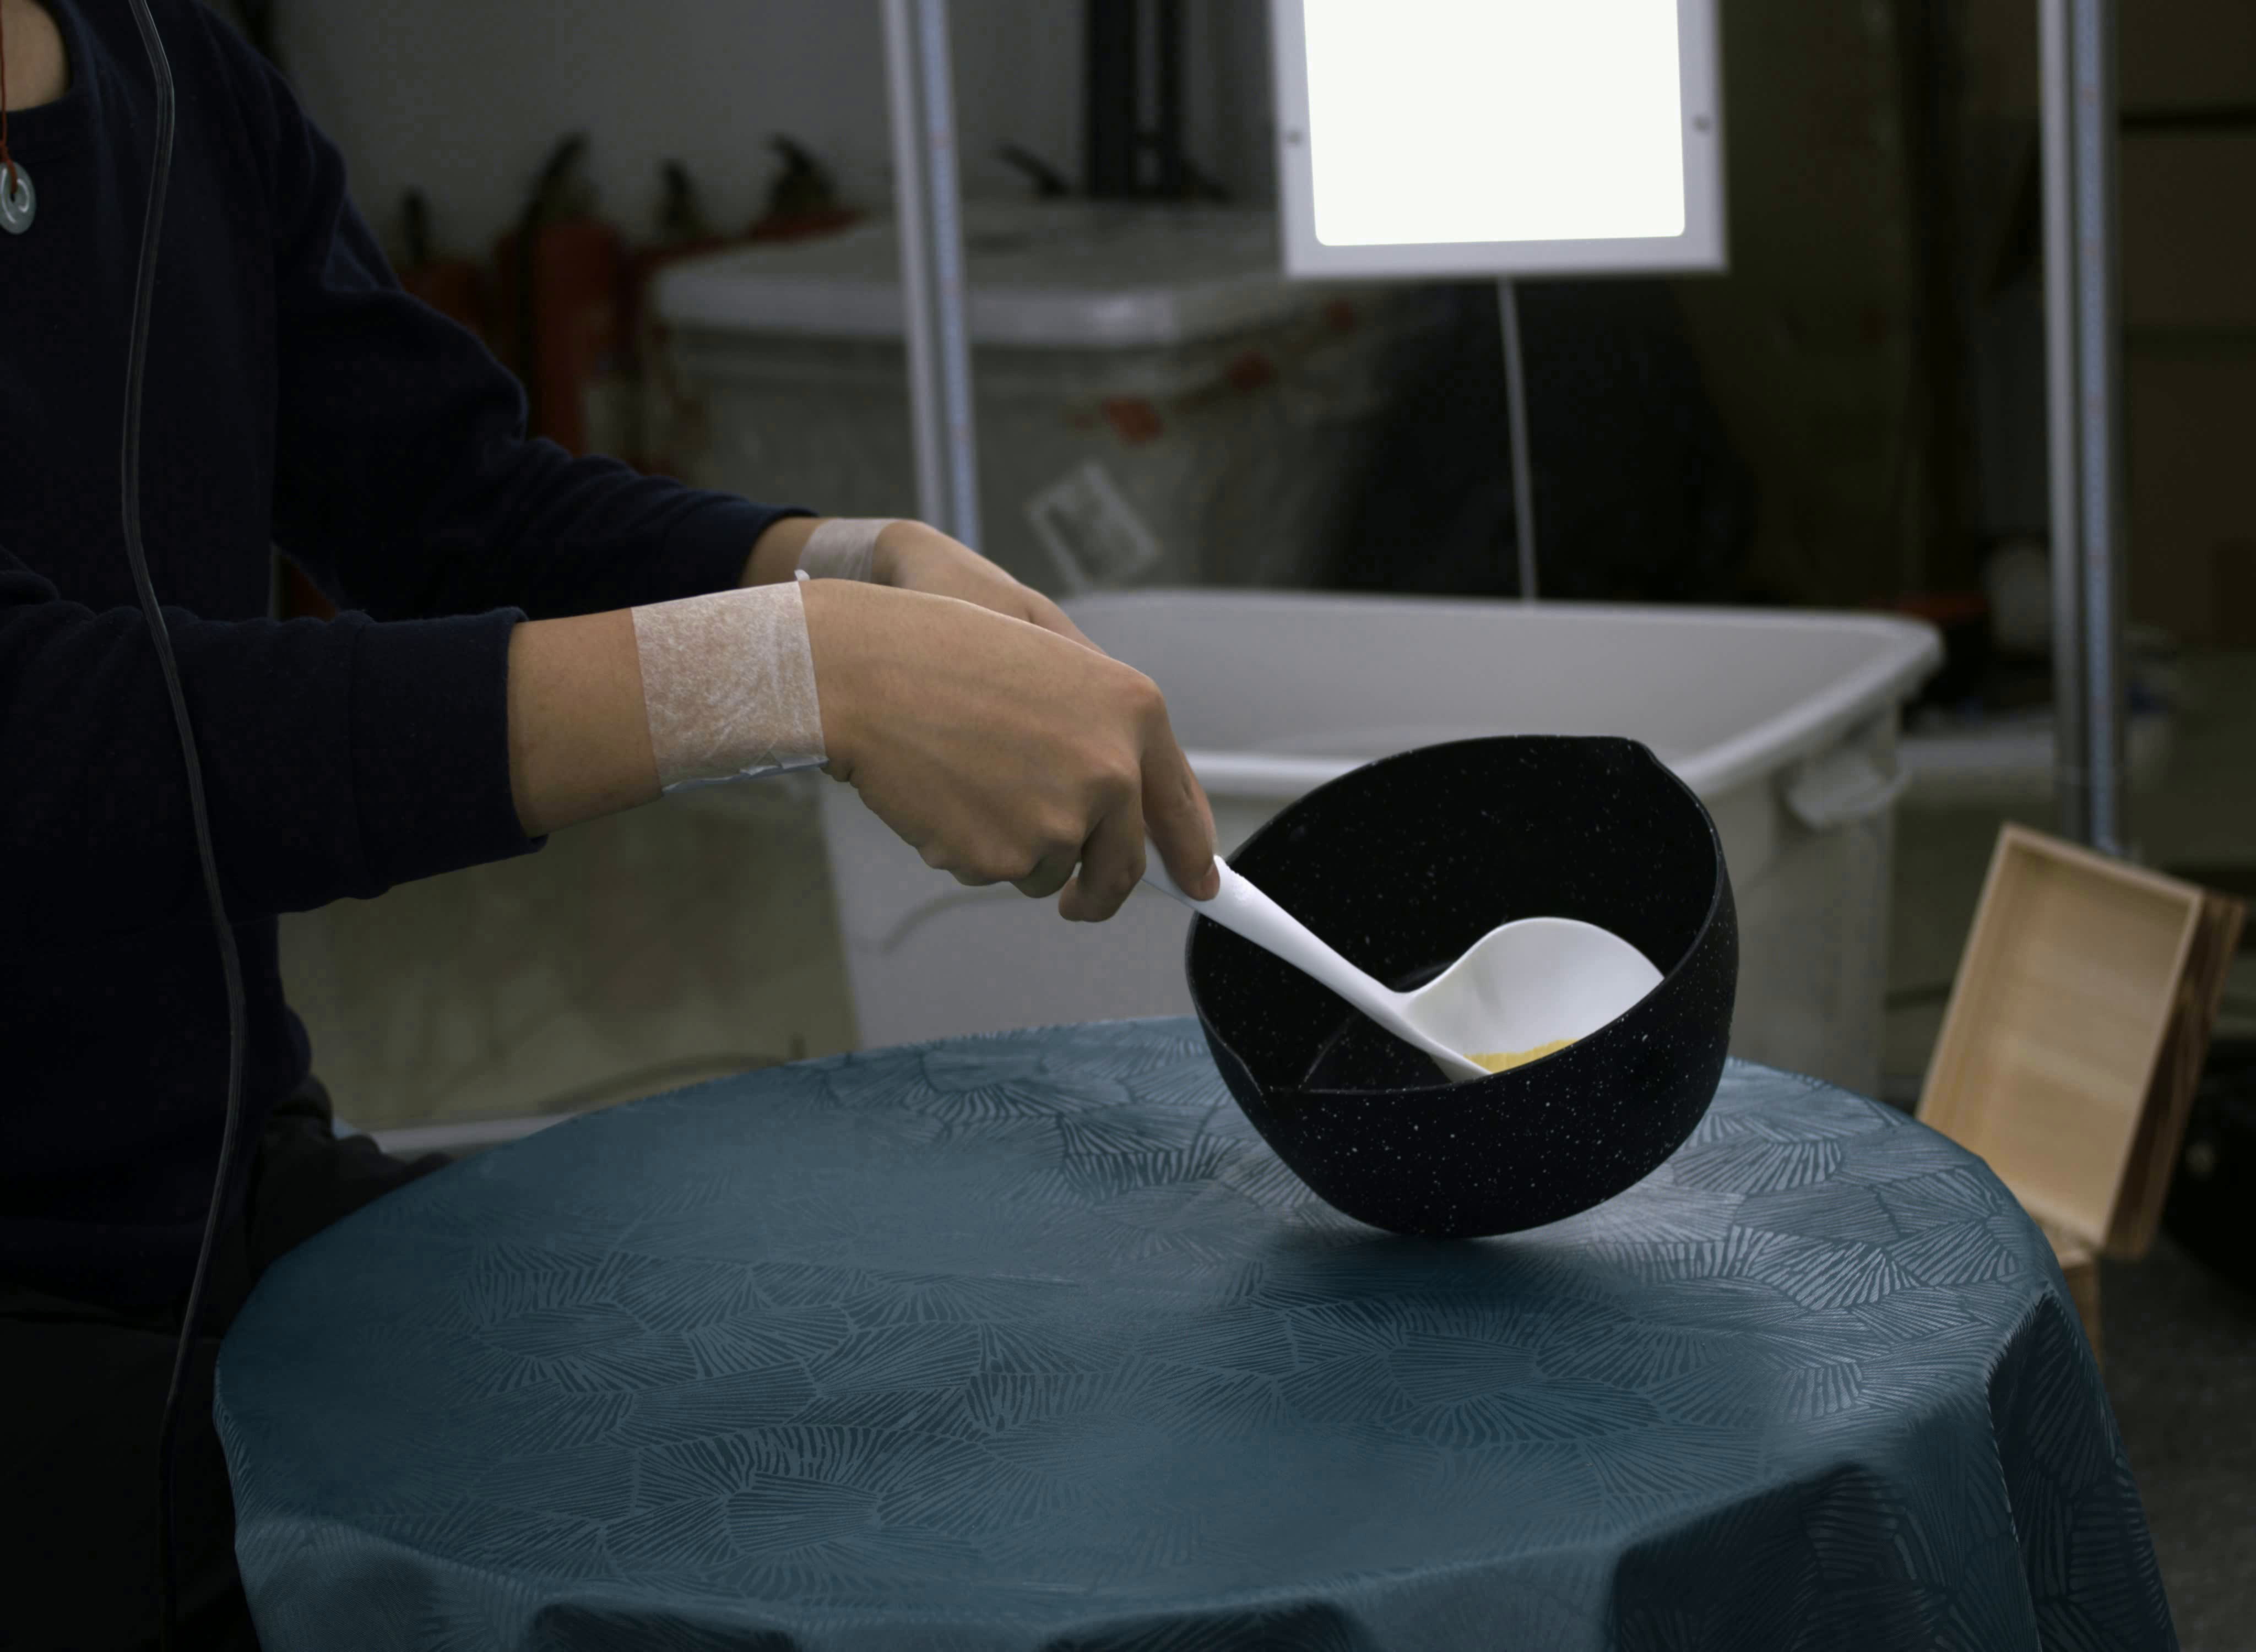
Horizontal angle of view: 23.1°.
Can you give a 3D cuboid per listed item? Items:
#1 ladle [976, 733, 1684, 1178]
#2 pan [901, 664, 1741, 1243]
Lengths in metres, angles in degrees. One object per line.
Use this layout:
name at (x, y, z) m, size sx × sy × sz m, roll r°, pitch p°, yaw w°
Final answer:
ladle at (0.071, 0.034, 1.736) m, size 0.071 × 0.090 × 0.287 m, roll -24°, pitch -37°, yaw 32°
pan at (0.057, 0.030, 1.892) m, size 0.349 × 0.108 × 0.204 m, roll 19°, pitch 52°, yaw 40°
